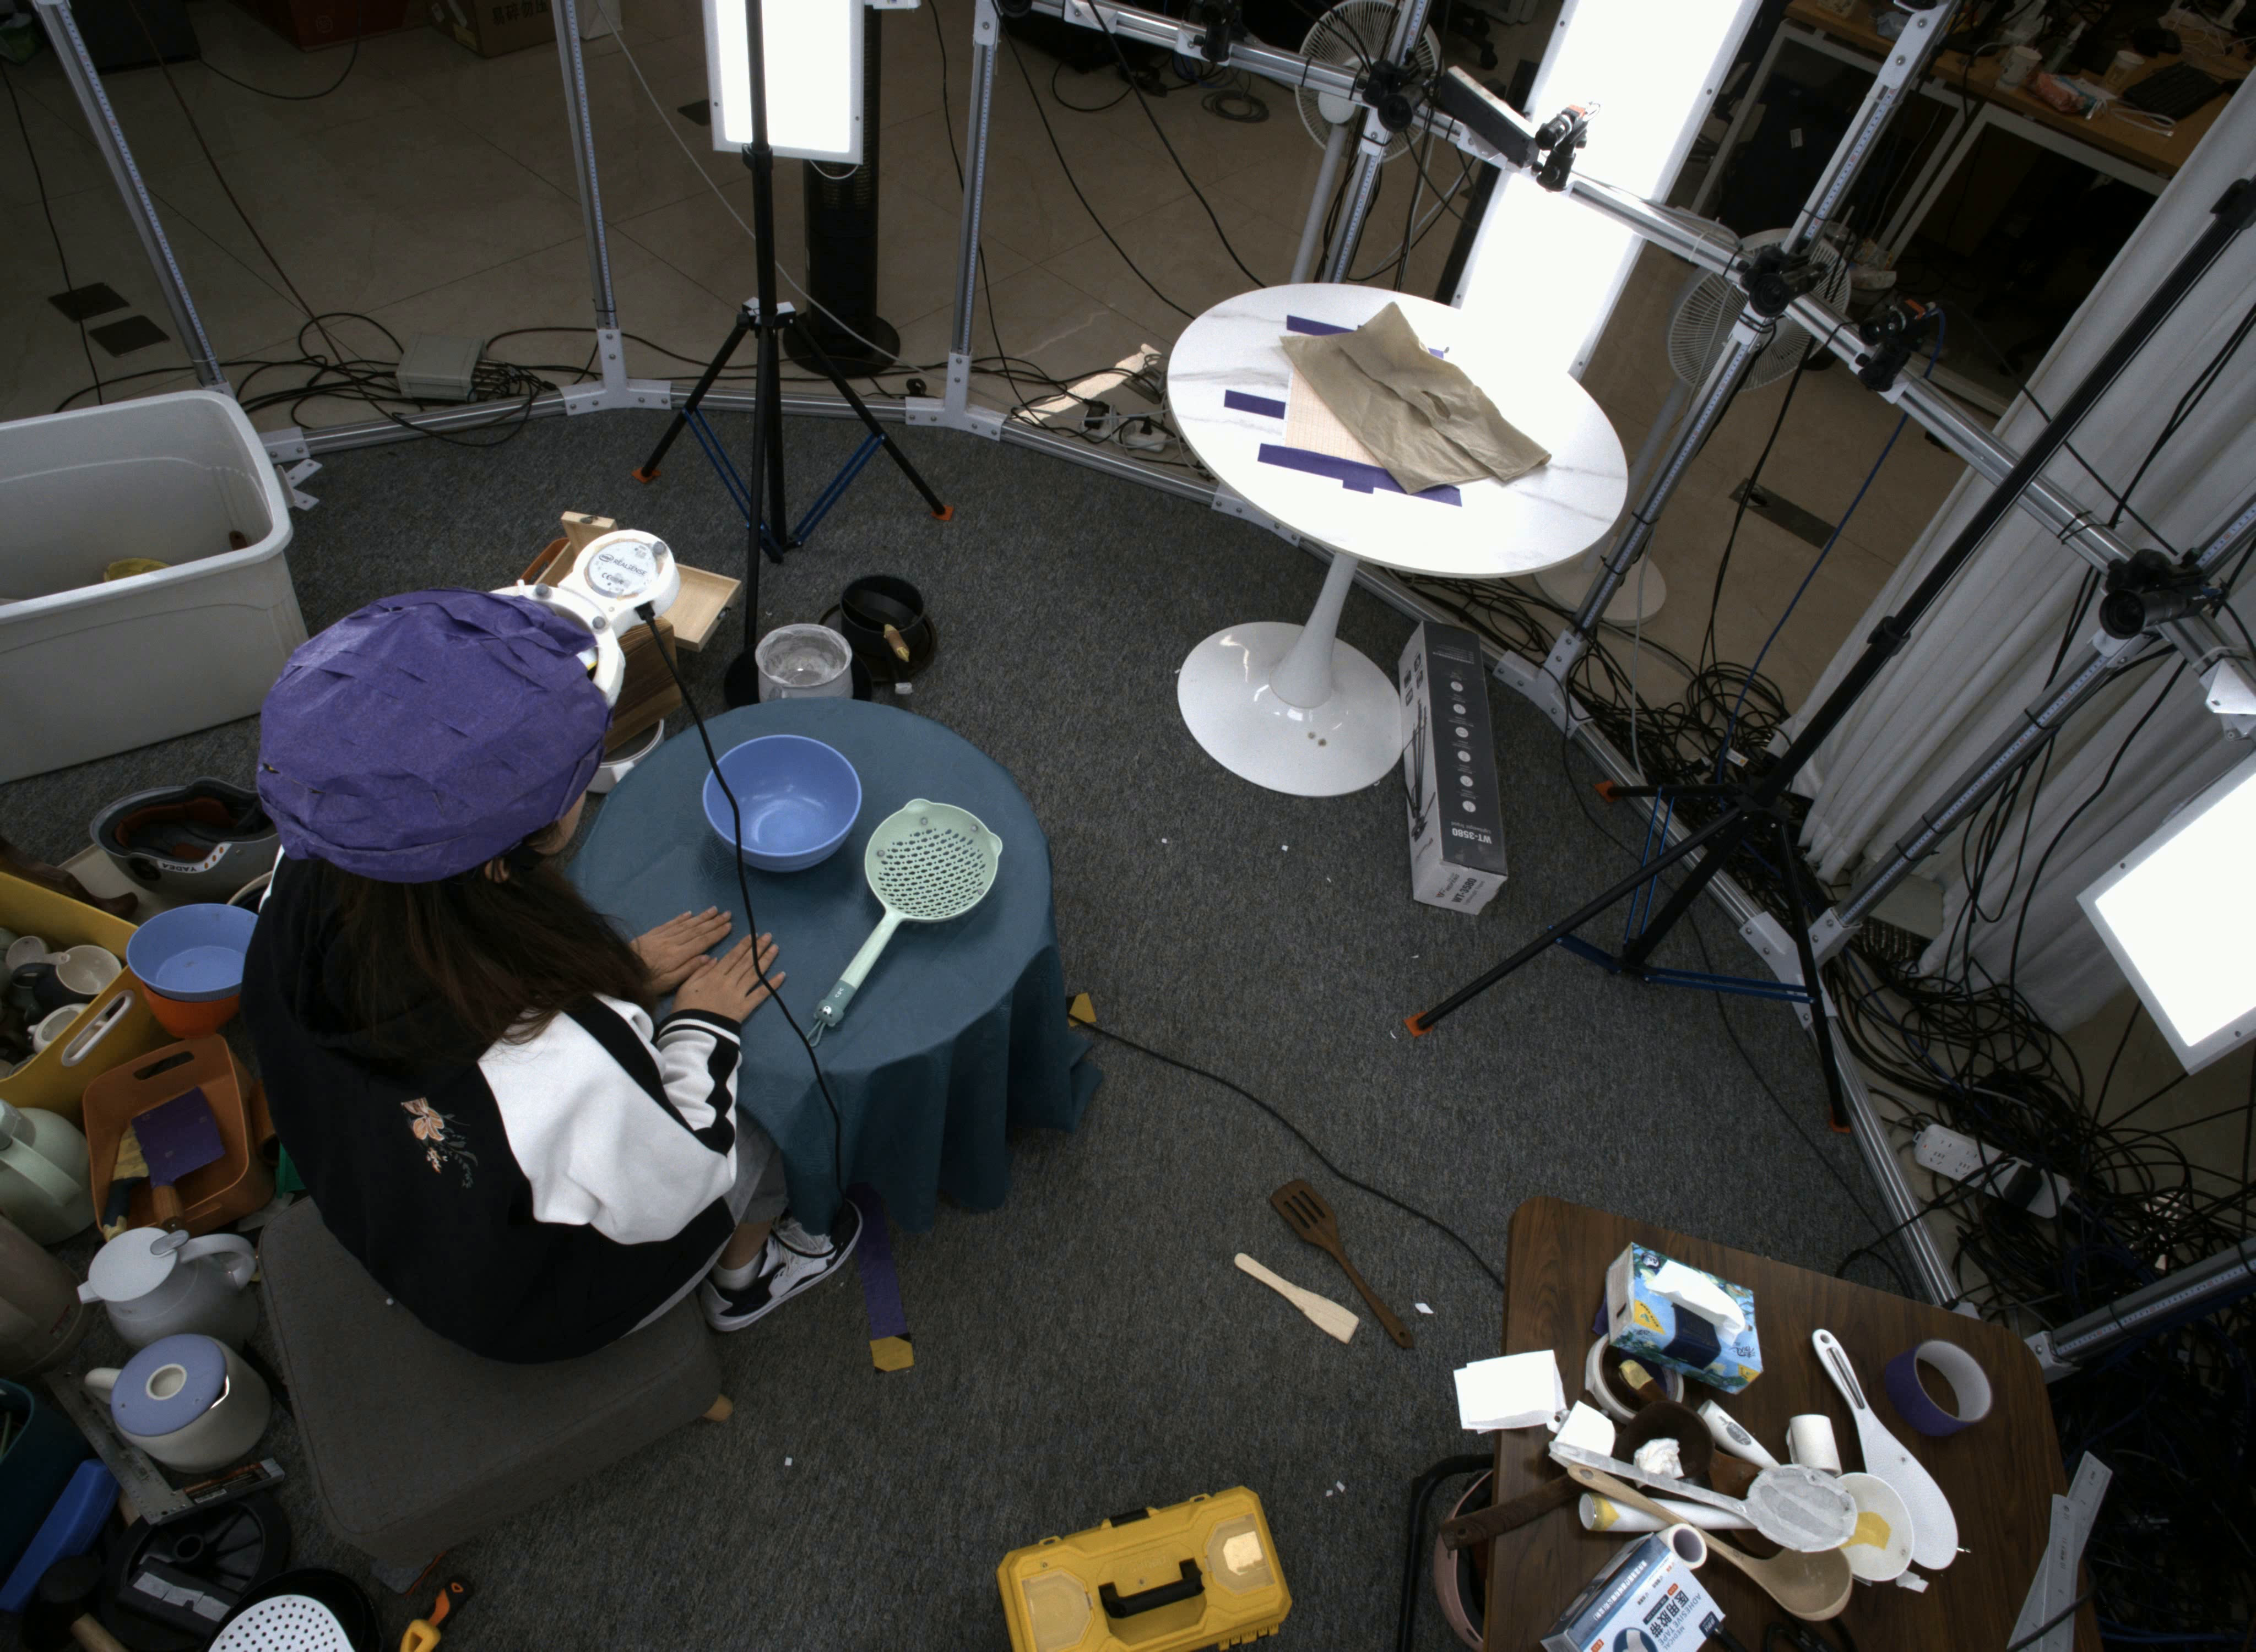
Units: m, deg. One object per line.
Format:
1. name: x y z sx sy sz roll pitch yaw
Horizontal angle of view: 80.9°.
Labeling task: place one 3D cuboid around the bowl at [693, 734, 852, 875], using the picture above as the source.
1. bowl: -0.453 -0.013 1.660 0.196 0.097 0.193 8 53 -9

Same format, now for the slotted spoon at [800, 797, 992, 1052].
1. slotted spoon: -0.306 0.121 1.622 0.167 0.077 0.357 26 54 7
